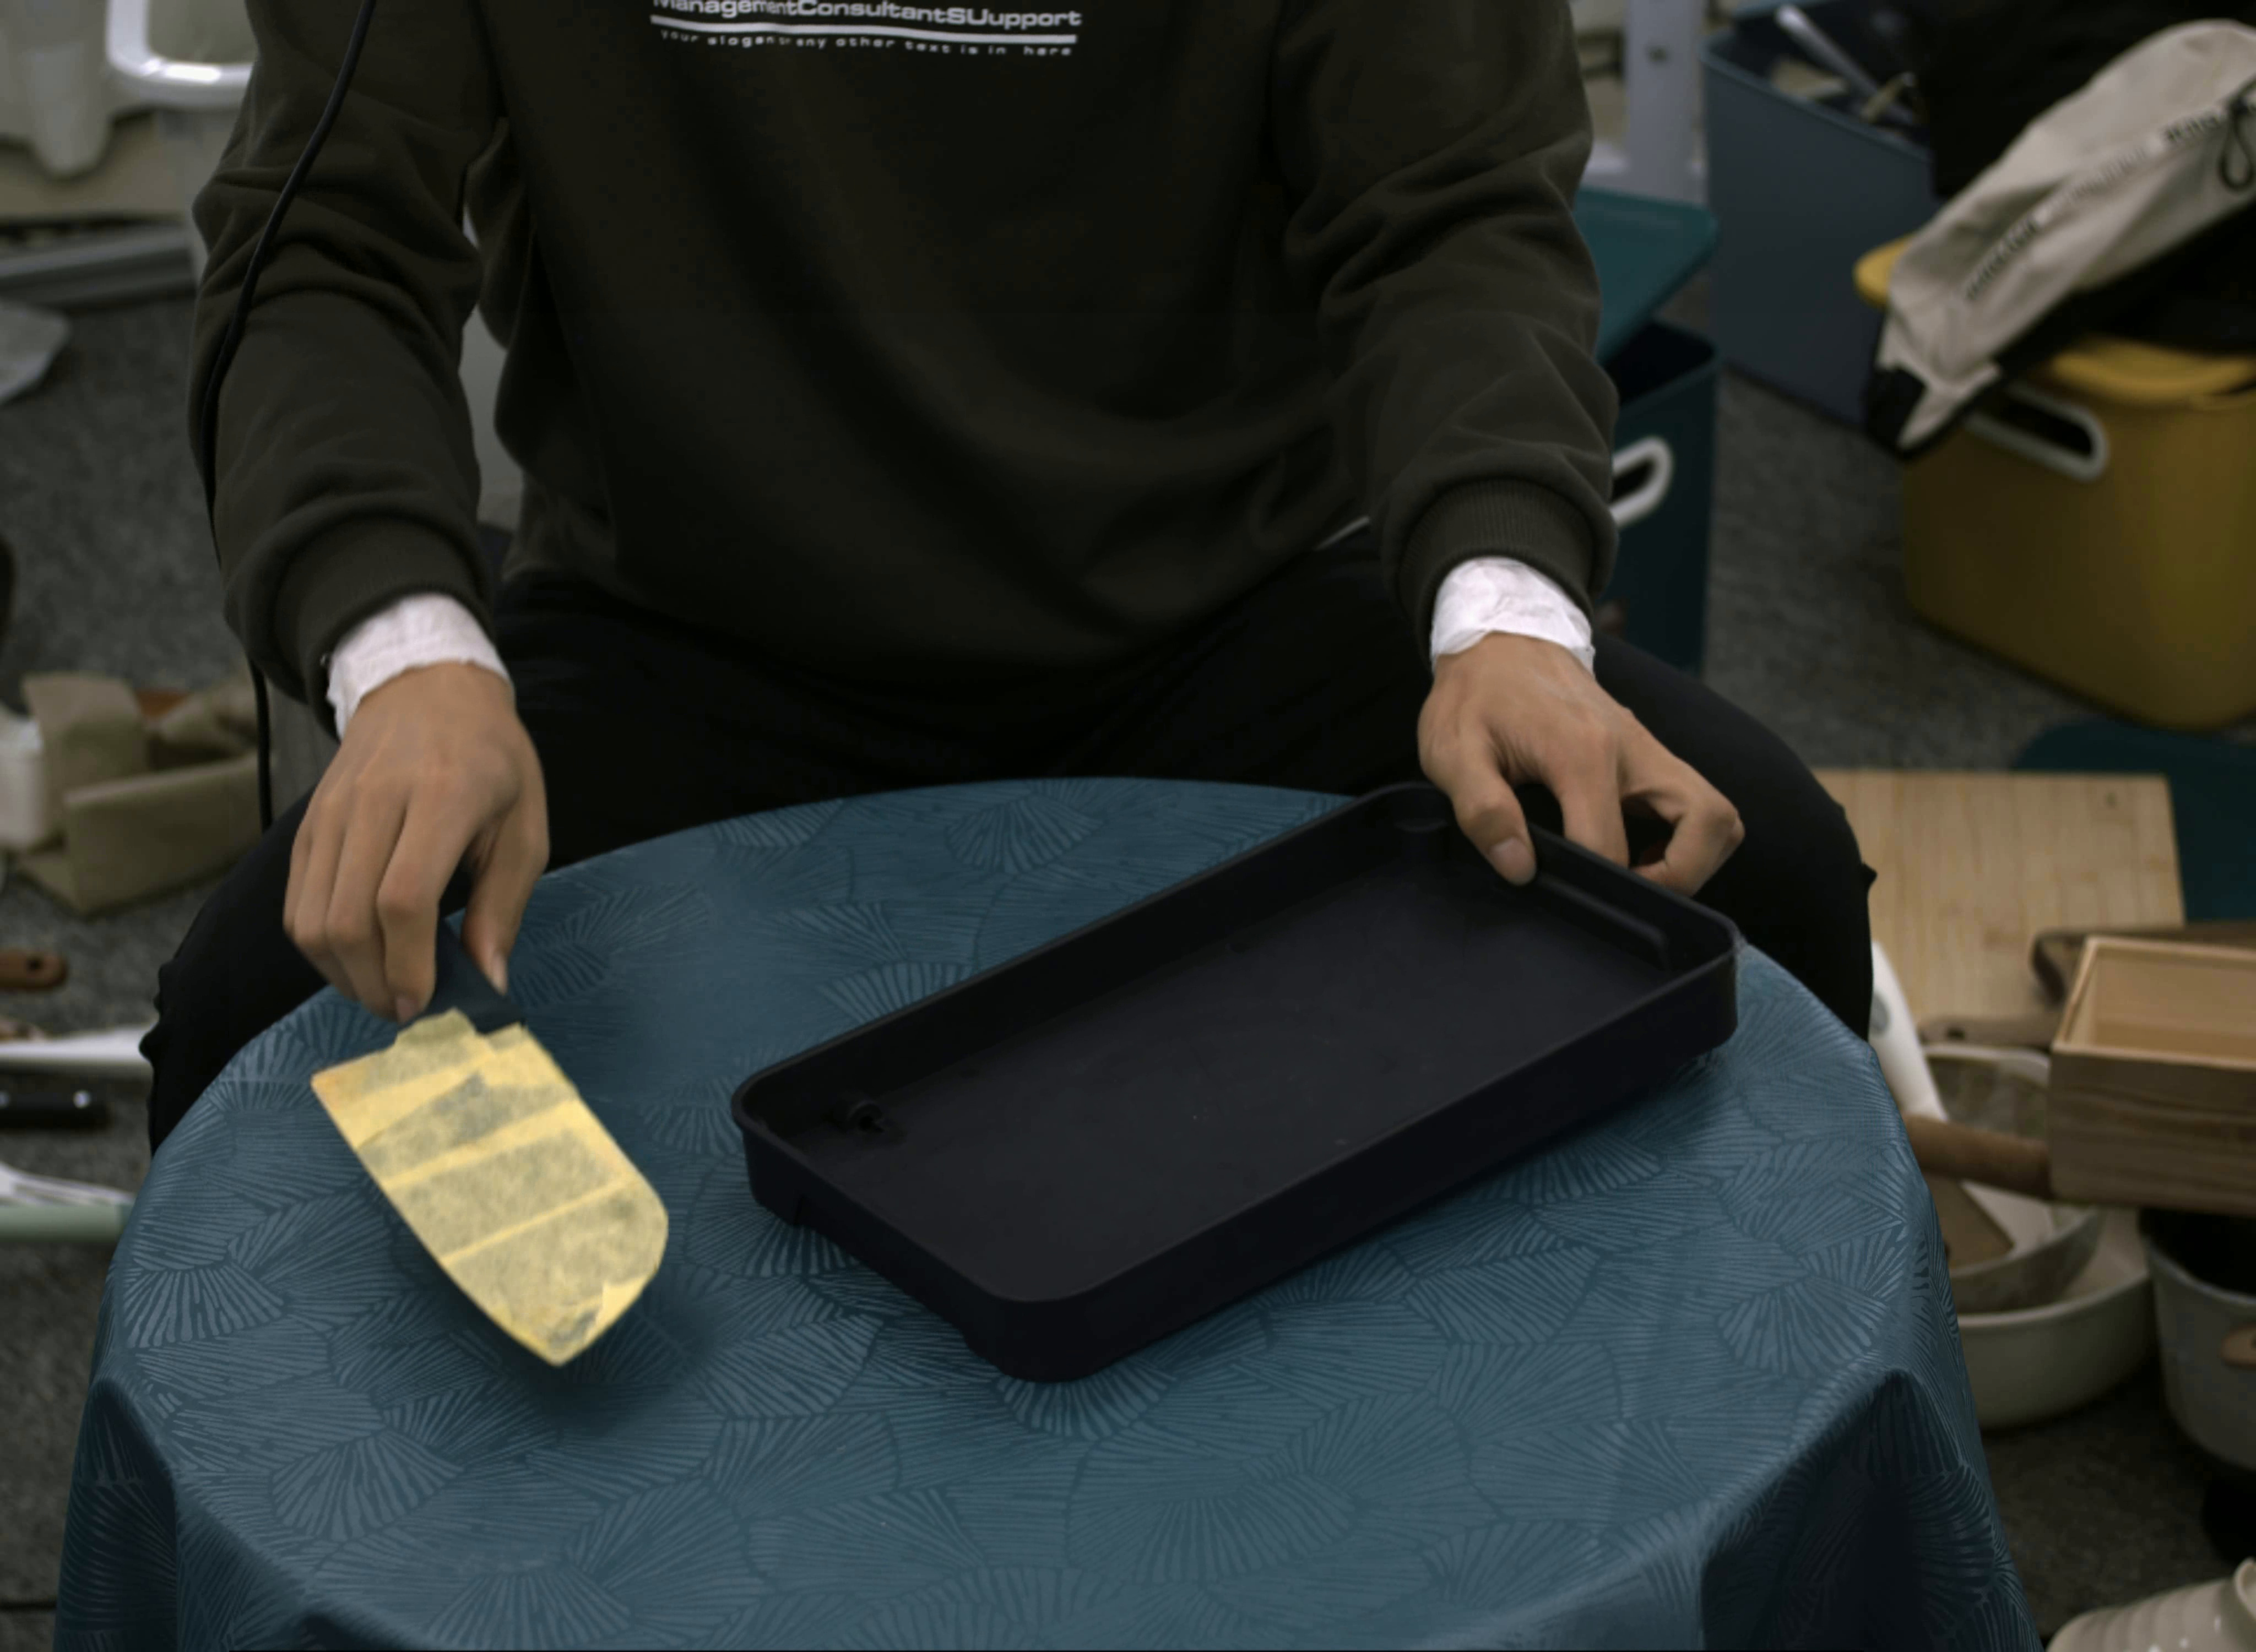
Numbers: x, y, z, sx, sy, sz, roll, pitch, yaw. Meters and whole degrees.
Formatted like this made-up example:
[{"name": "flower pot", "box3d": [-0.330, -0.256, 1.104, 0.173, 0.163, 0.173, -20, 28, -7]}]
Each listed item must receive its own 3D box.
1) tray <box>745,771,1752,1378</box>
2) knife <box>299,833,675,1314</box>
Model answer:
[{"name": "tray", "box3d": [0.044, 0.077, 1.892, 0.321, 0.036, 0.184, -26, 33, -32]}, {"name": "knife", "box3d": [-0.224, 0.081, 1.842, 0.081, 0.027, 0.292, -18, 36, -19]}]
